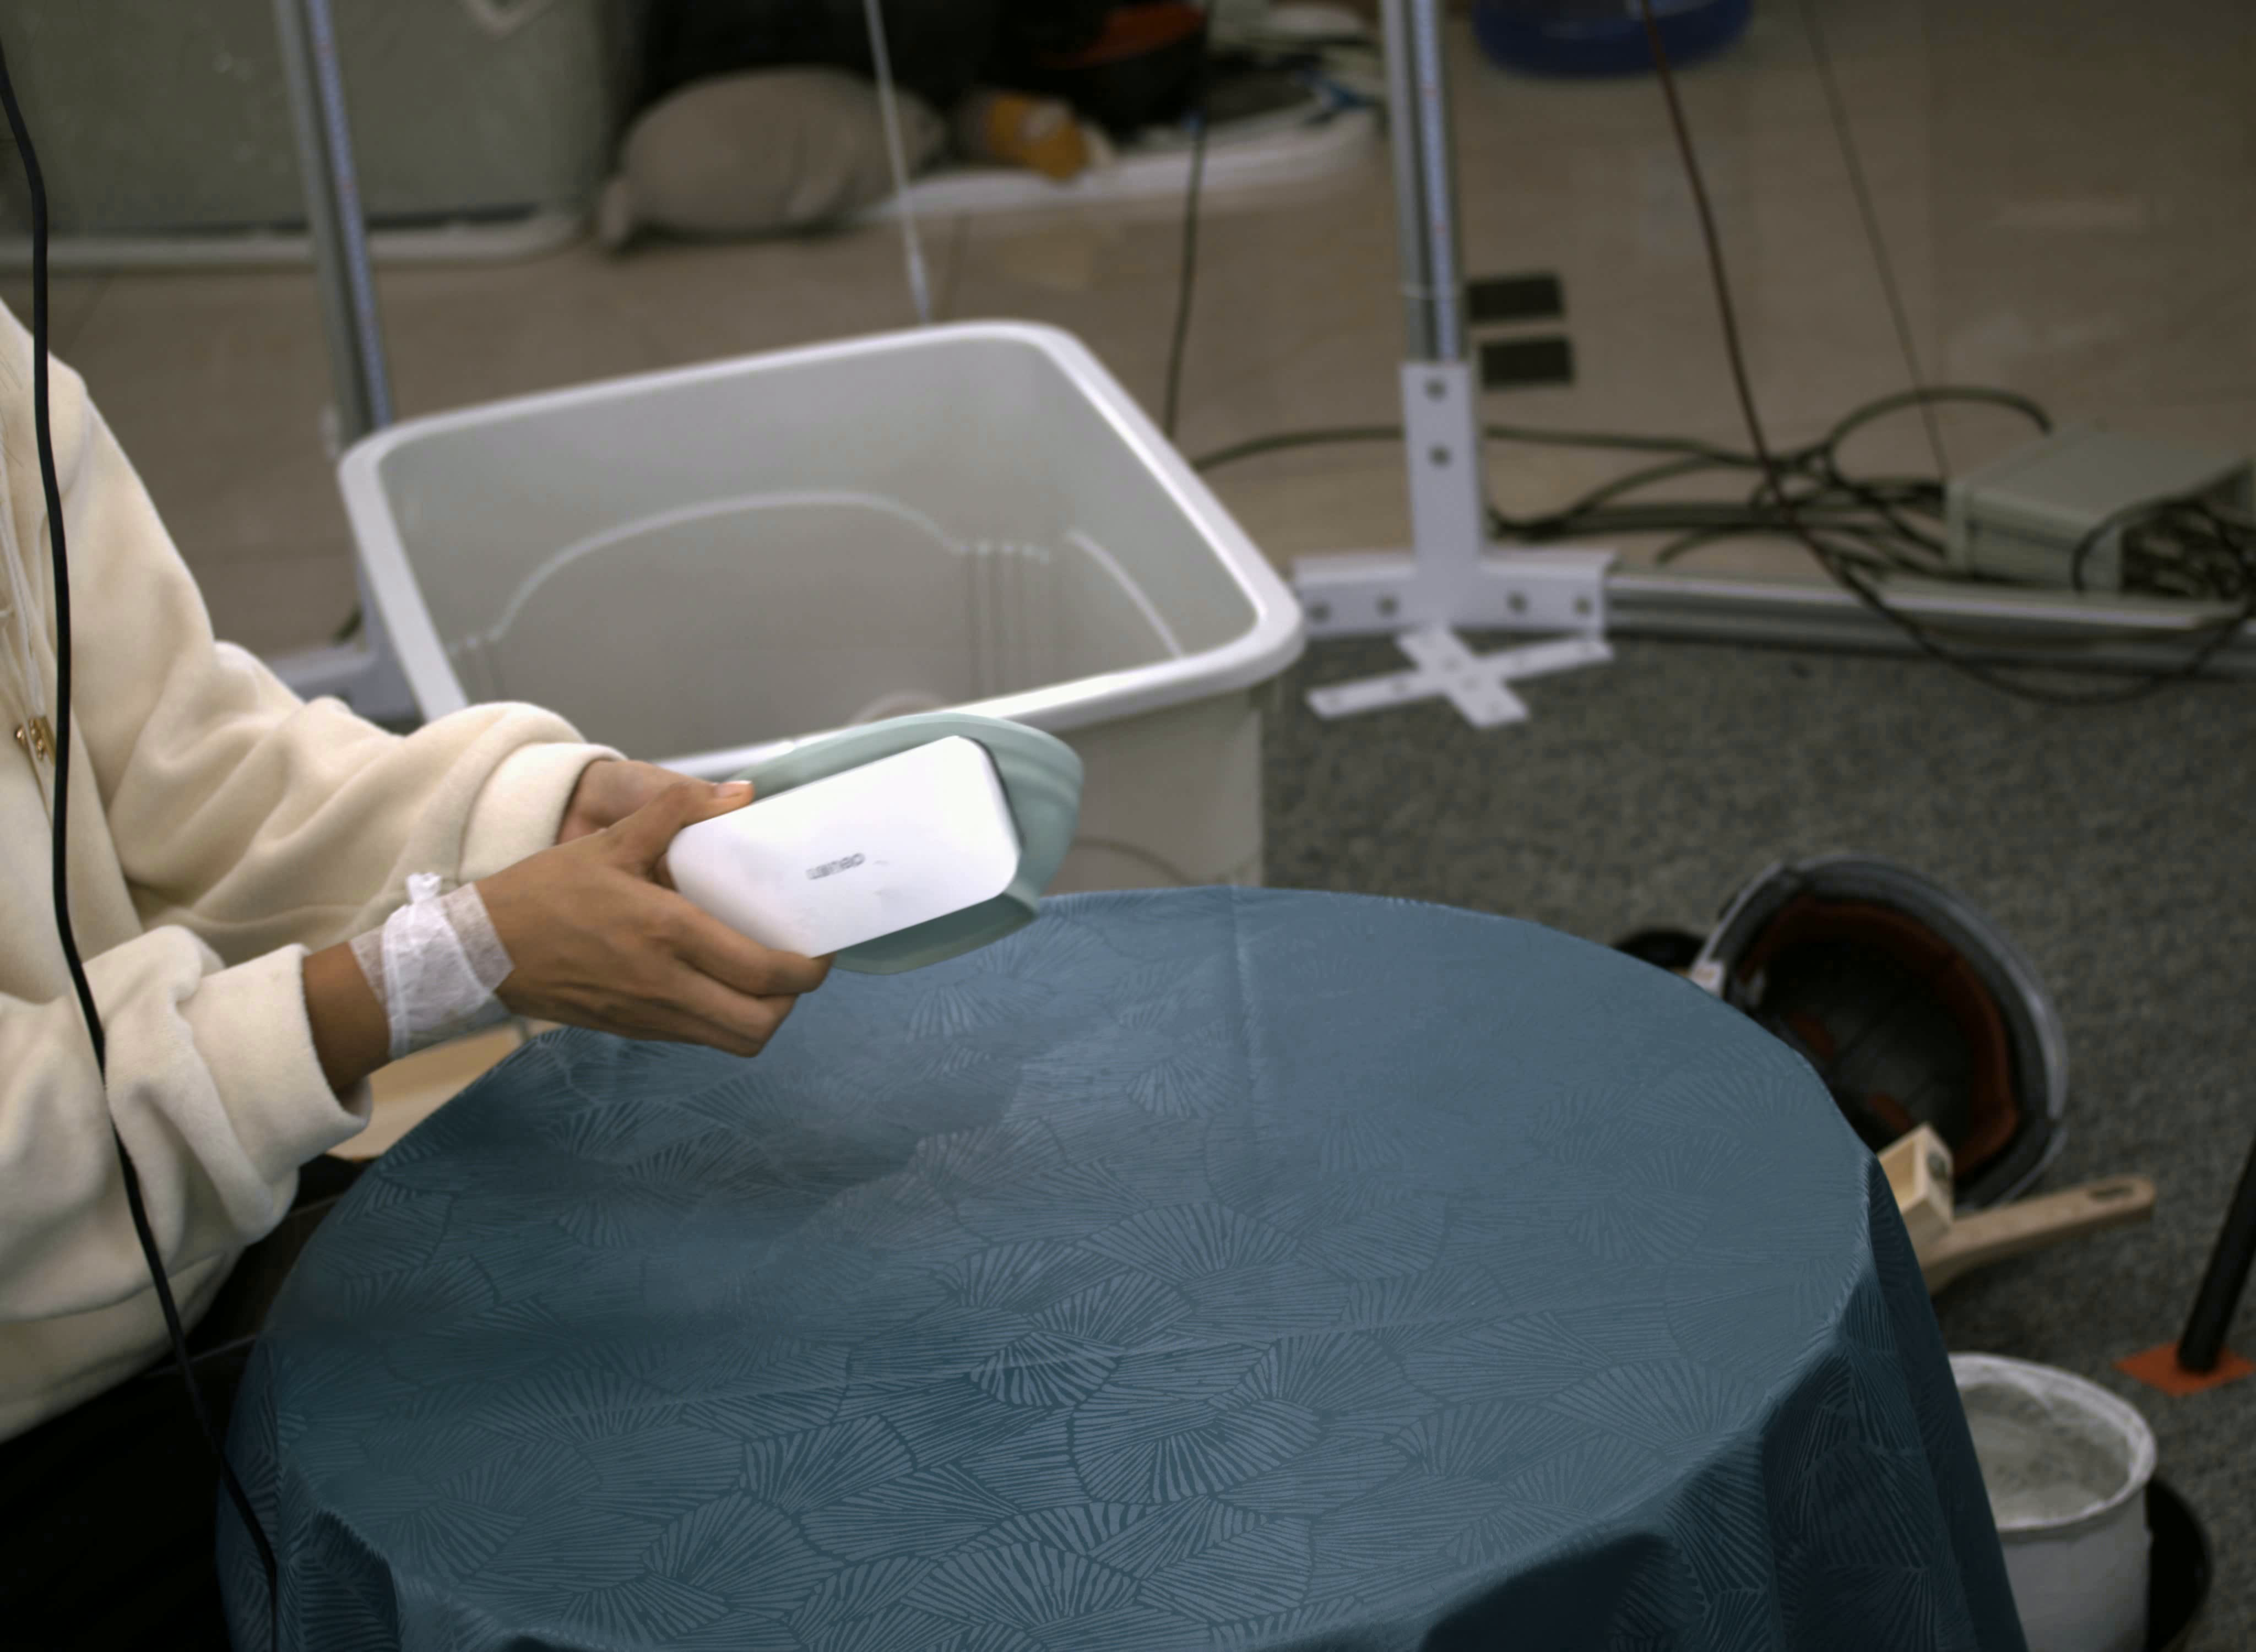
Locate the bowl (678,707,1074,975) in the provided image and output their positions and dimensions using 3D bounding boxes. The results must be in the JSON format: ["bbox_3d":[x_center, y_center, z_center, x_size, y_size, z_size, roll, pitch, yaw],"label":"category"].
[{"bbox_3d":[-0.092,0.012,2.132,0.151,0.153,0.058,-6,68,-1],"label":"bowl"}]

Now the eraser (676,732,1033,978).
[{"bbox_3d":[-0.100,0.009,2.063,0.131,0.064,0.034,-18,10,21],"label":"eraser"}]
